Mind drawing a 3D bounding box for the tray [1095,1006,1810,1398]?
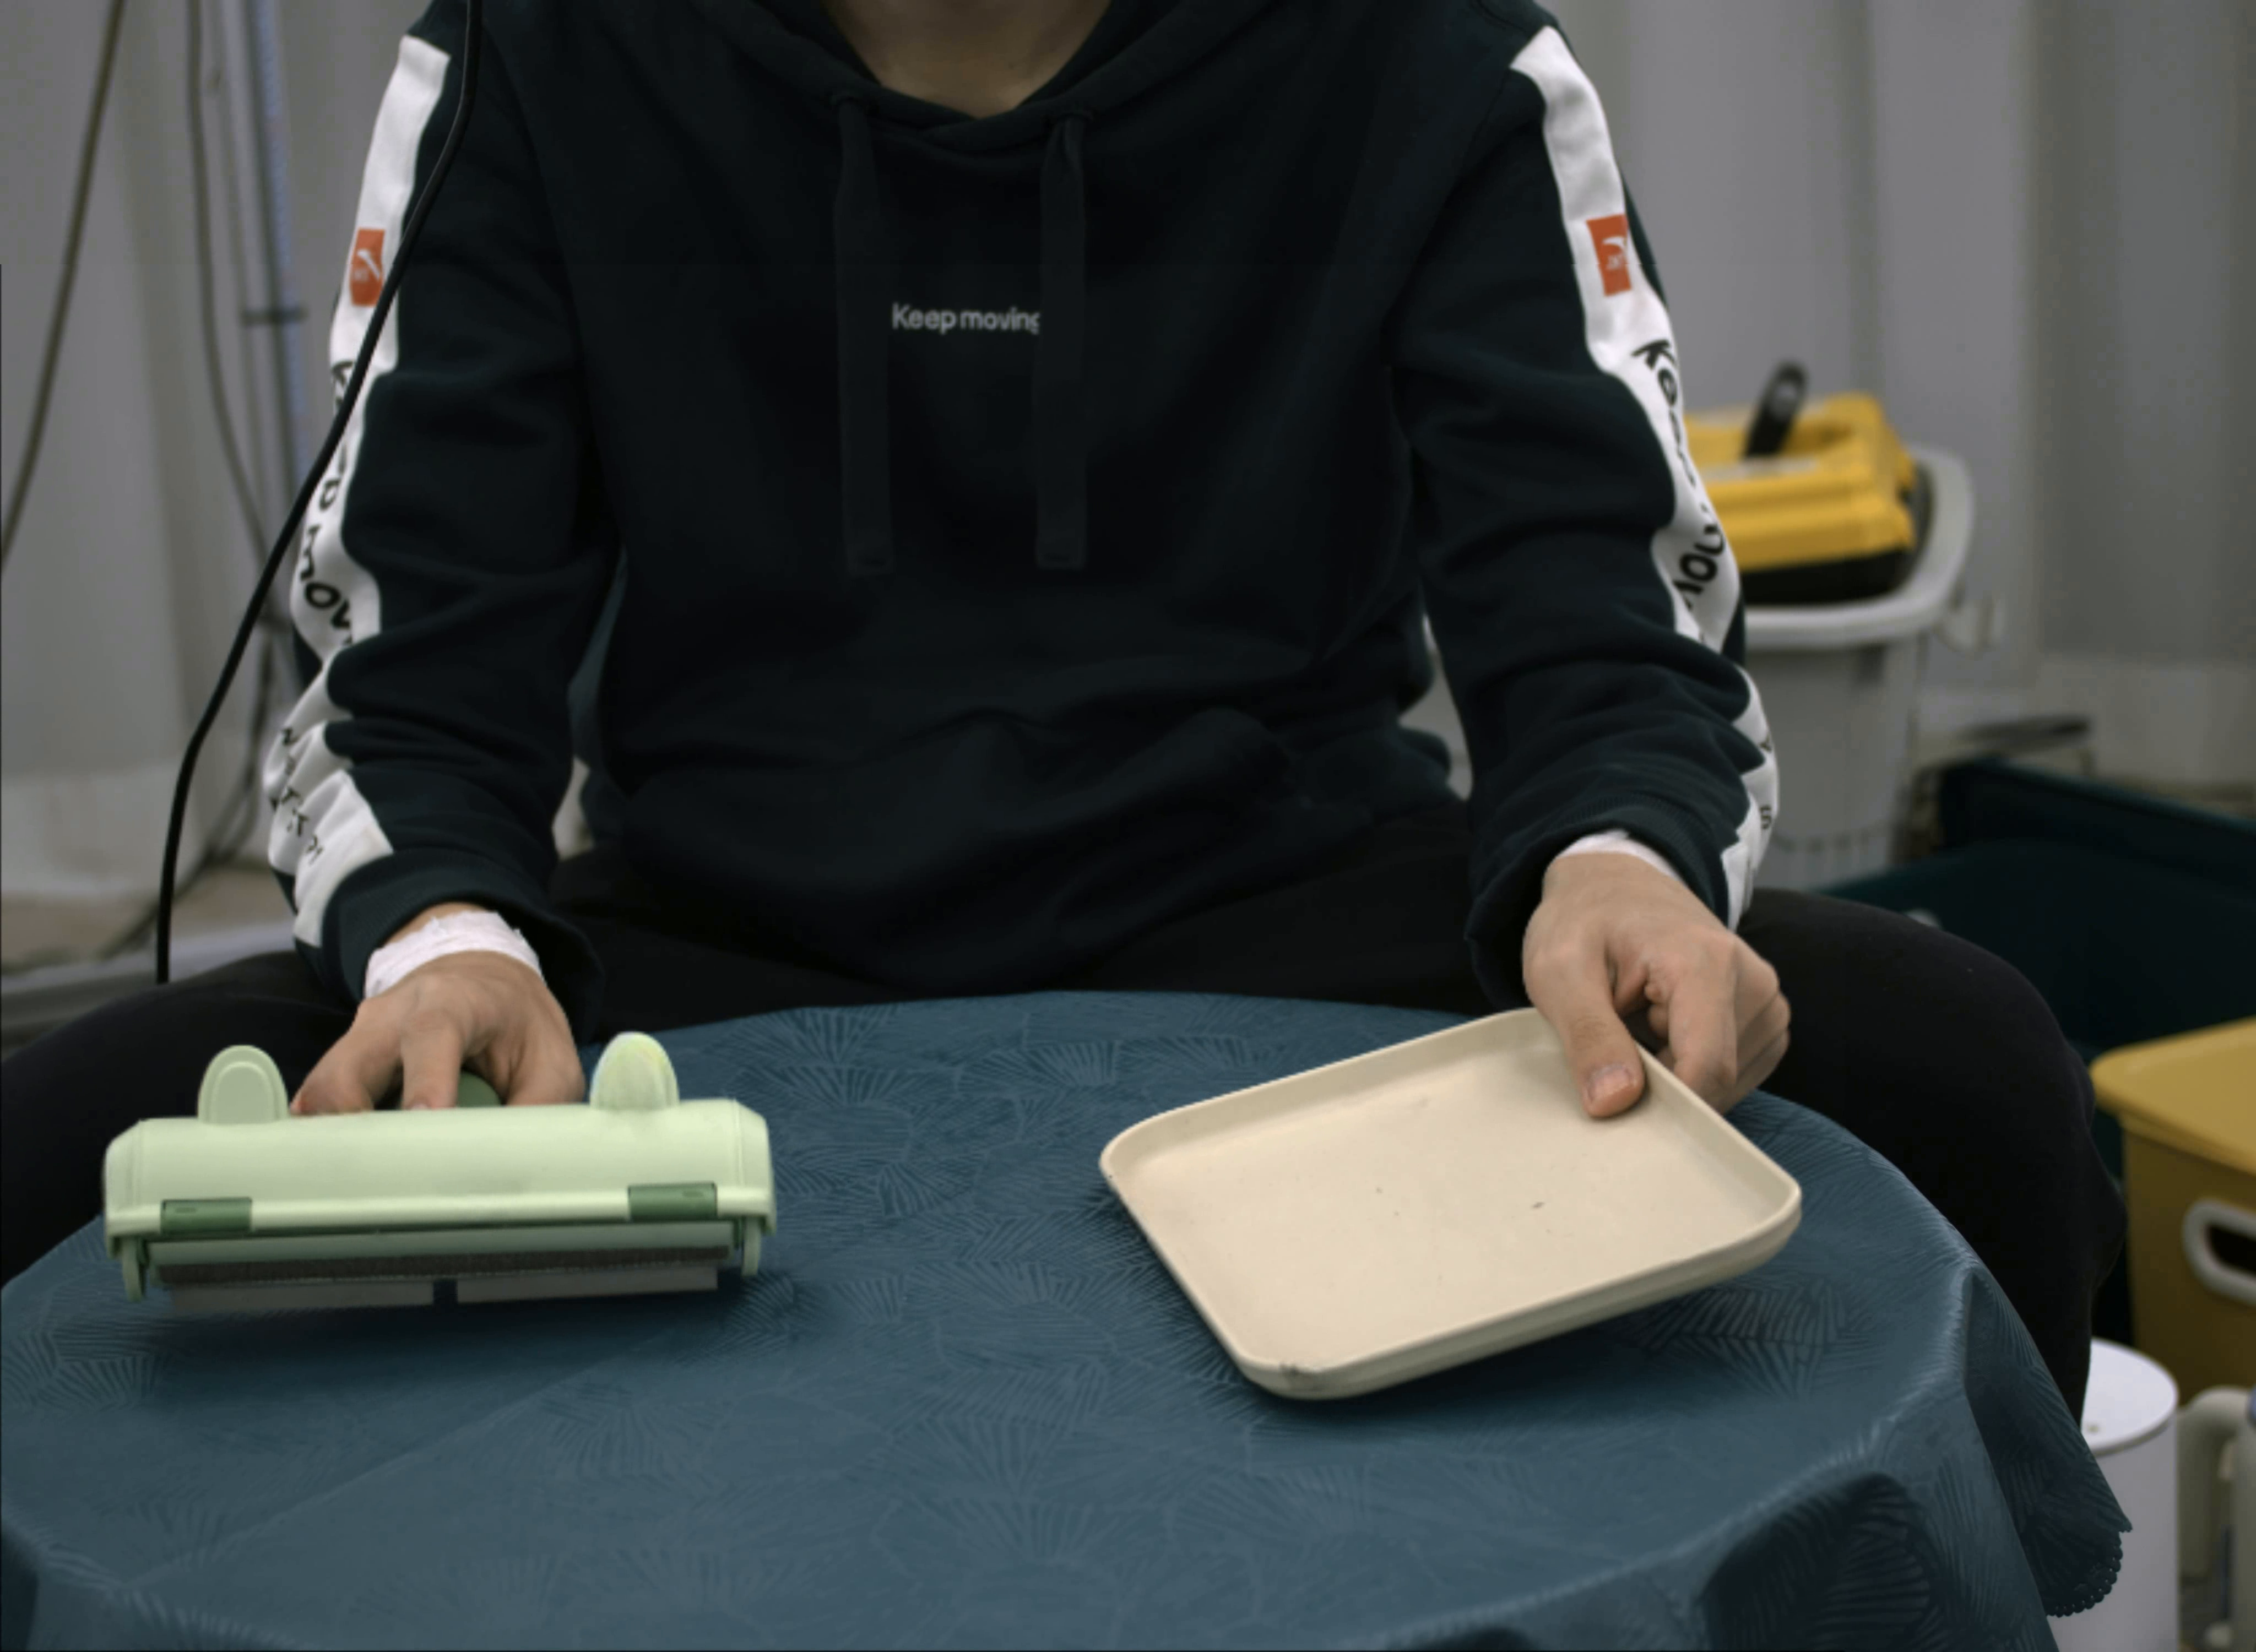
[{"bbox_3d":[0.093,0.110,1.627,0.171,0.017,0.241,-16,16,-10],"label":"tray"}]

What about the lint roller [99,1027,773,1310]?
[{"bbox_3d":[-0.211,0.087,1.679,0.198,0.082,0.185,-2,19,-5],"label":"lint roller"}]
